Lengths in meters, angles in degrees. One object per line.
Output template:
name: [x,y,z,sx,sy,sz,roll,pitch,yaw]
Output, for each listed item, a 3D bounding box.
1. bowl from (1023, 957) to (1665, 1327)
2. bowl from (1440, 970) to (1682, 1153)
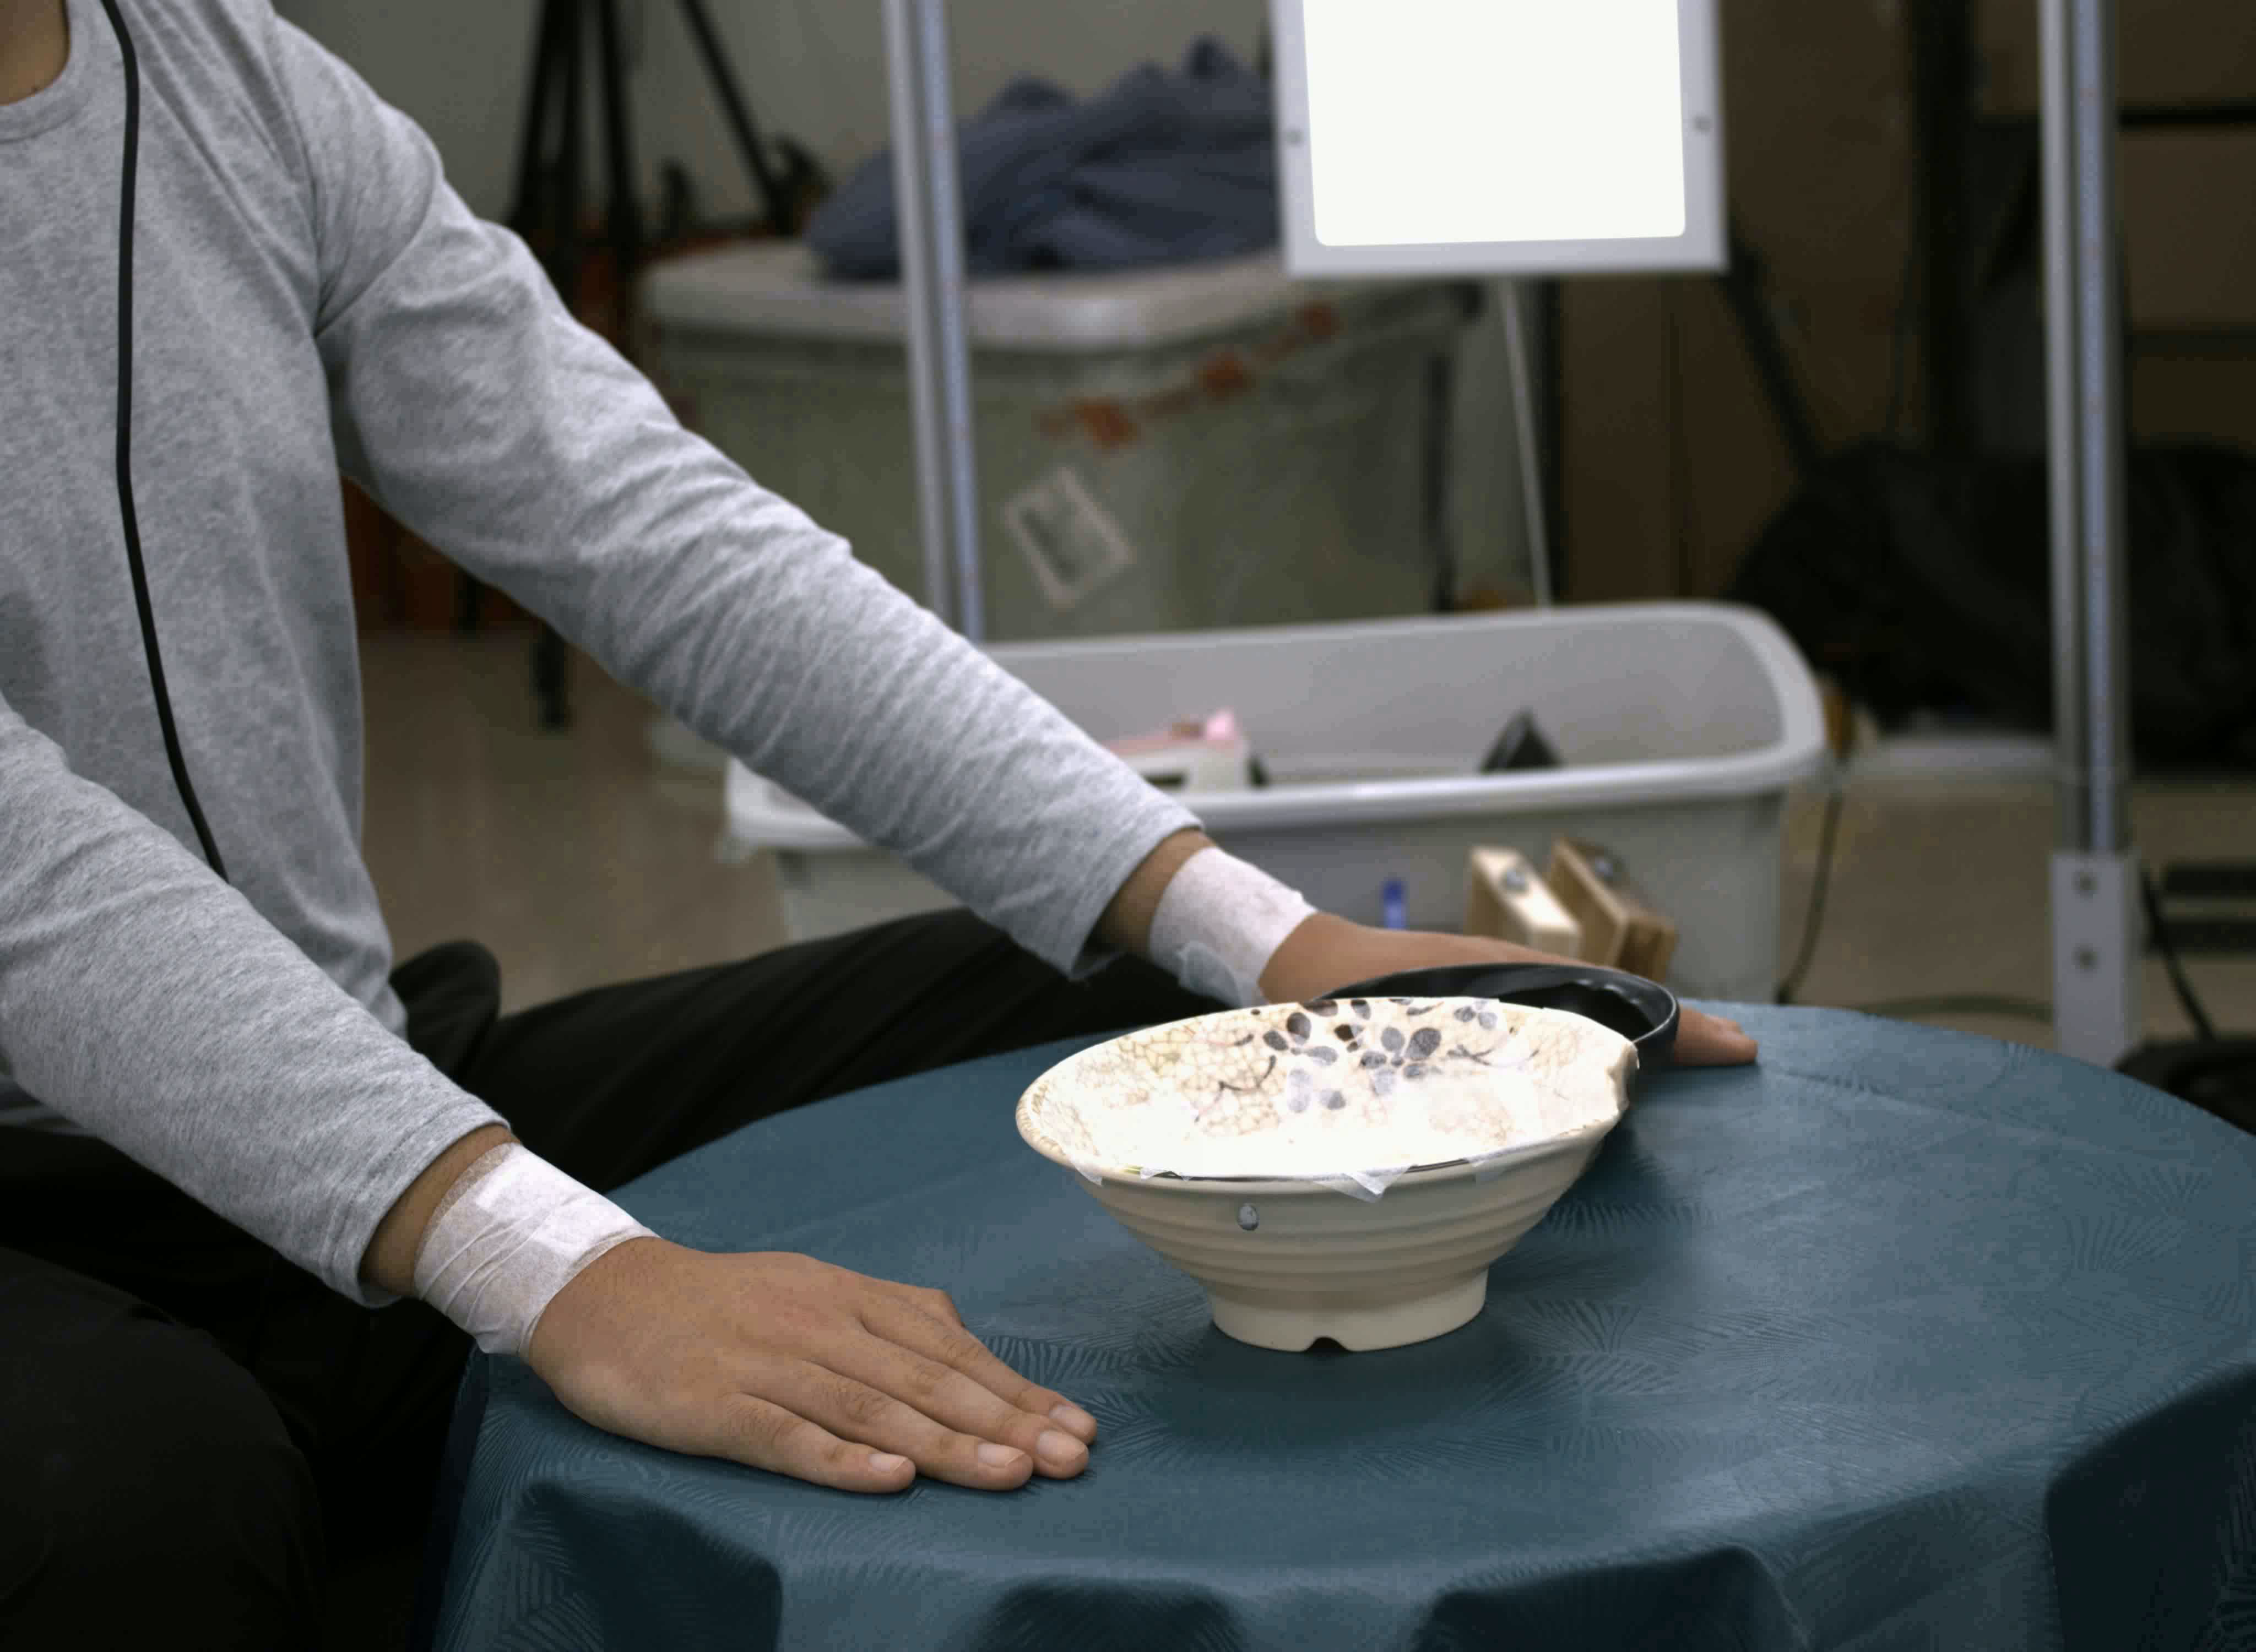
bowl: [0.066,0.107,1.740,0.203,0.078,0.204,2,16,-2]
bowl: [0.125,0.089,1.909,0.139,0.050,0.140,-5,11,0]
